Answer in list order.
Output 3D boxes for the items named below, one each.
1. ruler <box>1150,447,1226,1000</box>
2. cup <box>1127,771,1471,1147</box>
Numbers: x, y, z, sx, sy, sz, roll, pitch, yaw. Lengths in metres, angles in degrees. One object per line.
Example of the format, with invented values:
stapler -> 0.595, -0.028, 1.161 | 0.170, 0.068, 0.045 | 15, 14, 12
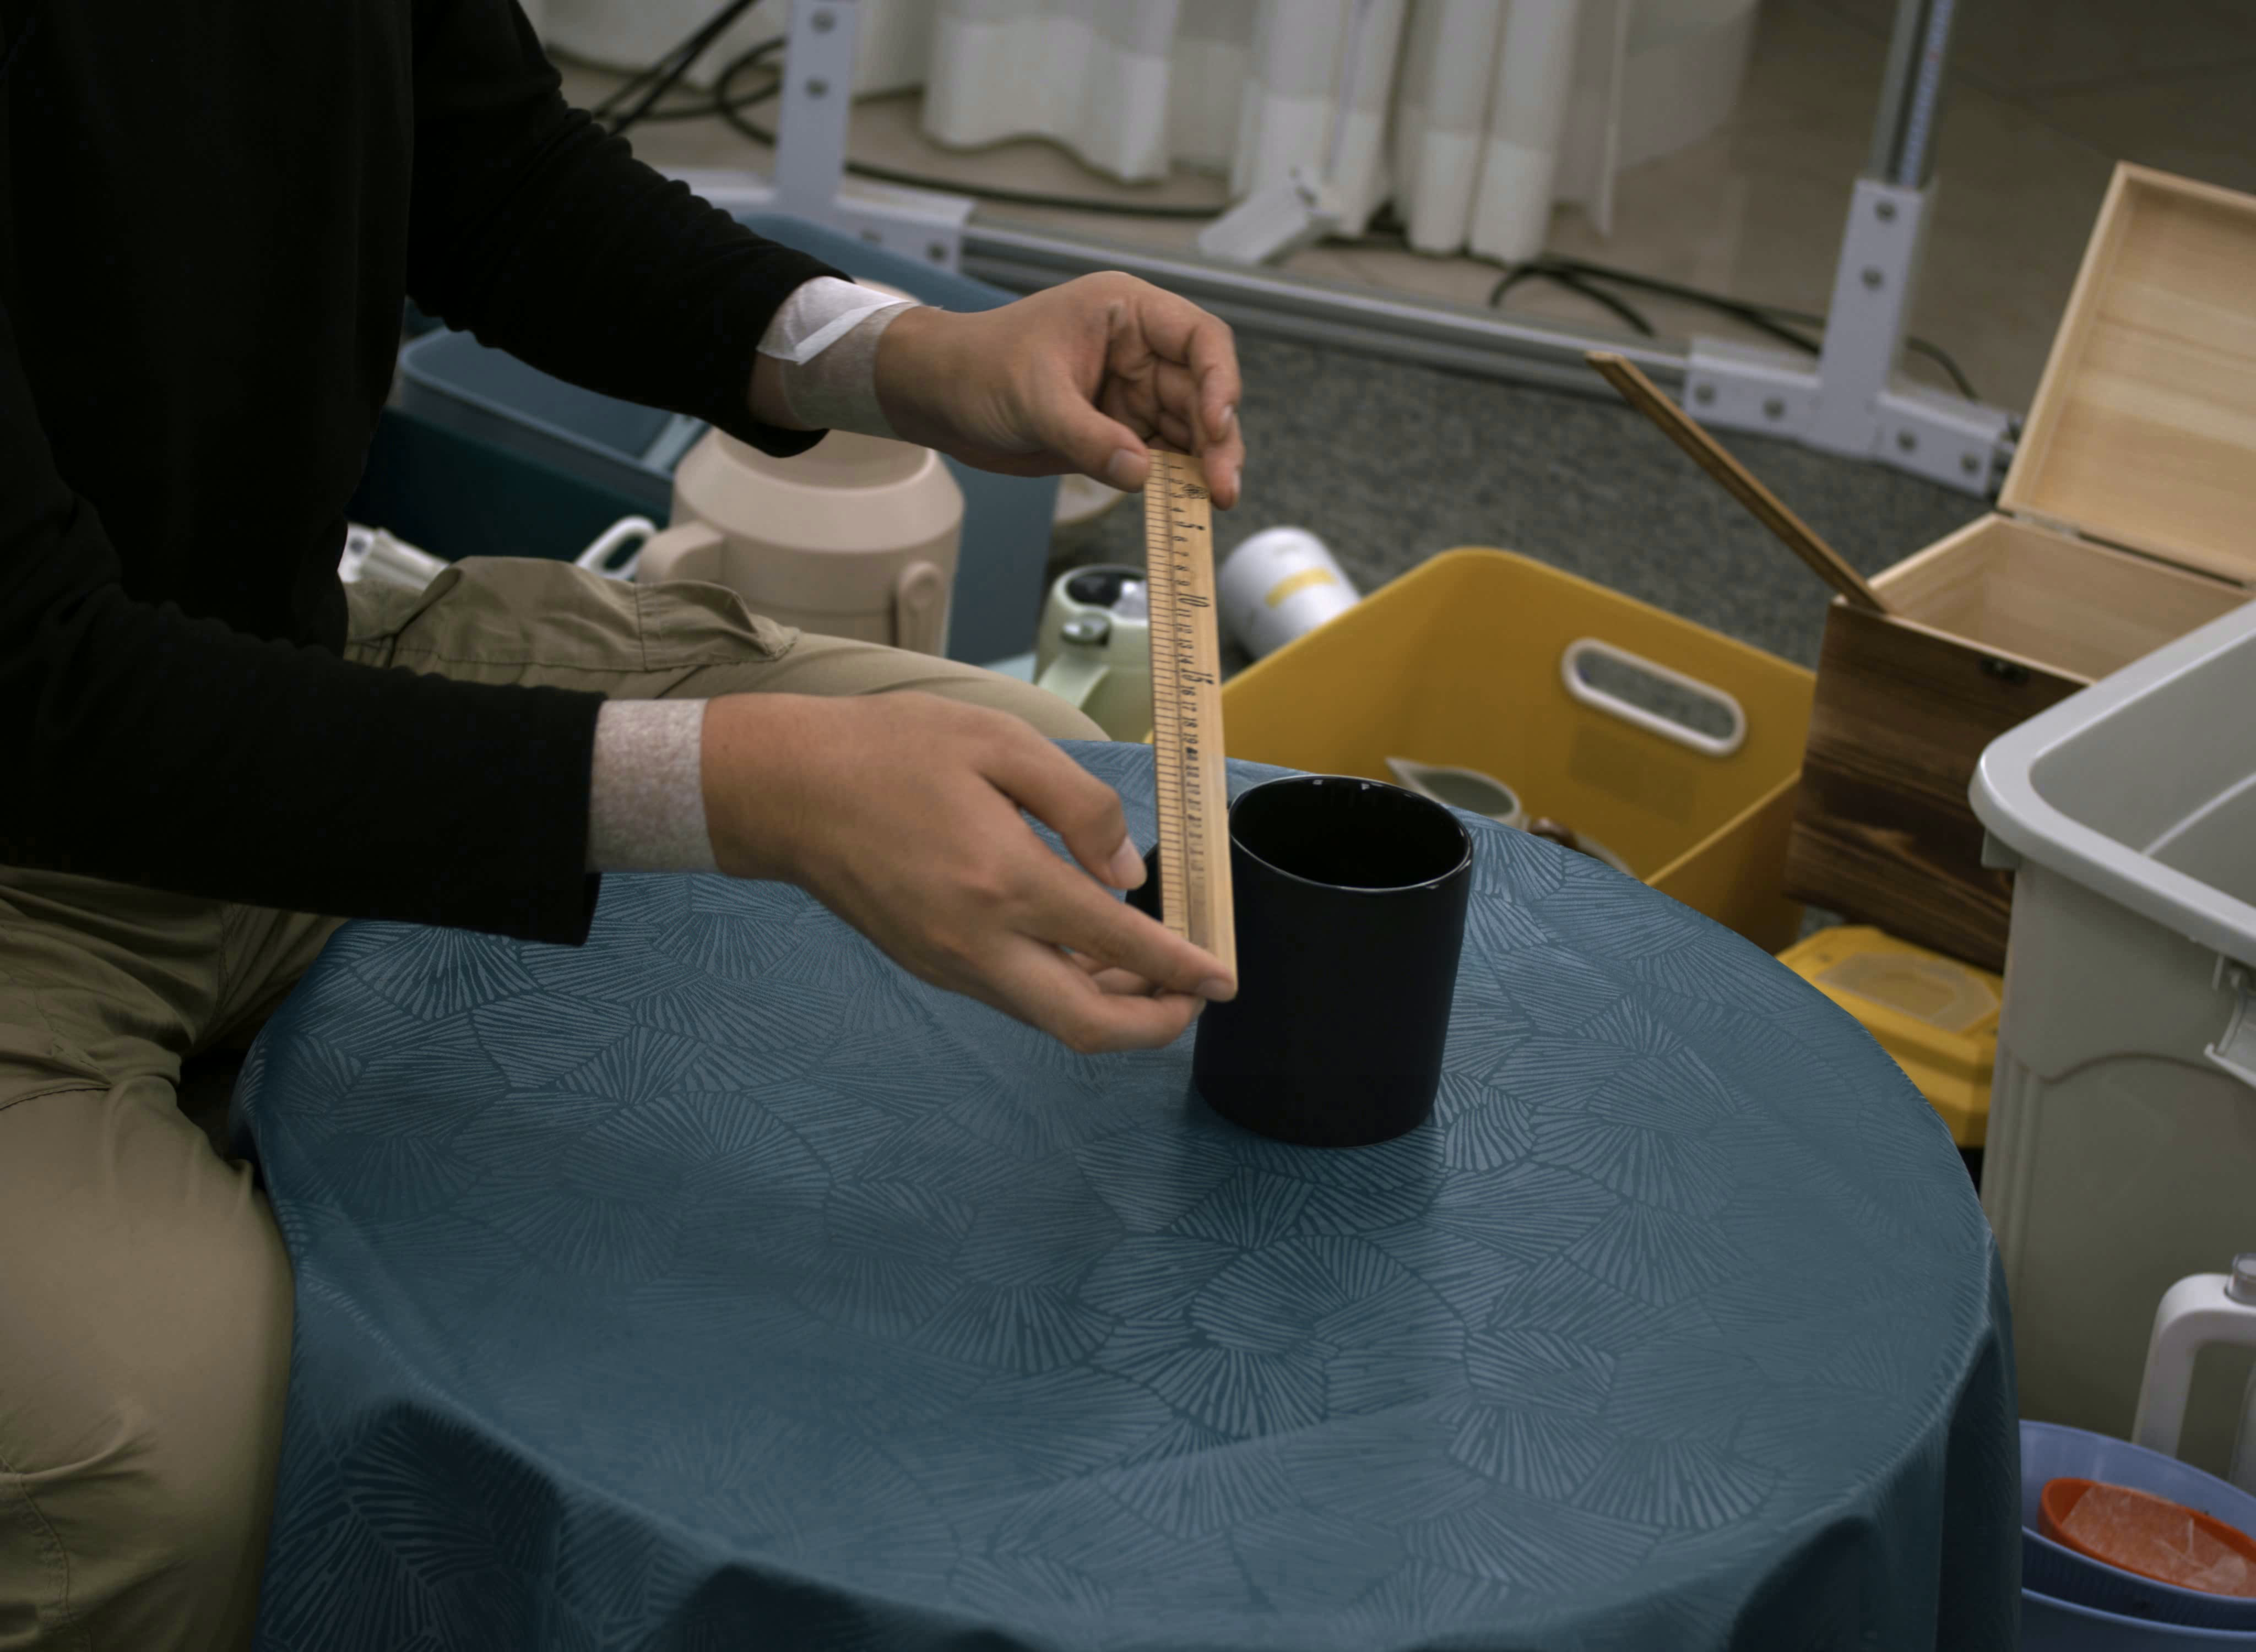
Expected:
ruler -> 0.020, -0.045, 1.853 | 0.027, 0.022, 0.334 | 15, 33, -10
cup -> 0.055, 0.041, 1.863 | 0.124, 0.105, 0.088 | 20, 31, 23
